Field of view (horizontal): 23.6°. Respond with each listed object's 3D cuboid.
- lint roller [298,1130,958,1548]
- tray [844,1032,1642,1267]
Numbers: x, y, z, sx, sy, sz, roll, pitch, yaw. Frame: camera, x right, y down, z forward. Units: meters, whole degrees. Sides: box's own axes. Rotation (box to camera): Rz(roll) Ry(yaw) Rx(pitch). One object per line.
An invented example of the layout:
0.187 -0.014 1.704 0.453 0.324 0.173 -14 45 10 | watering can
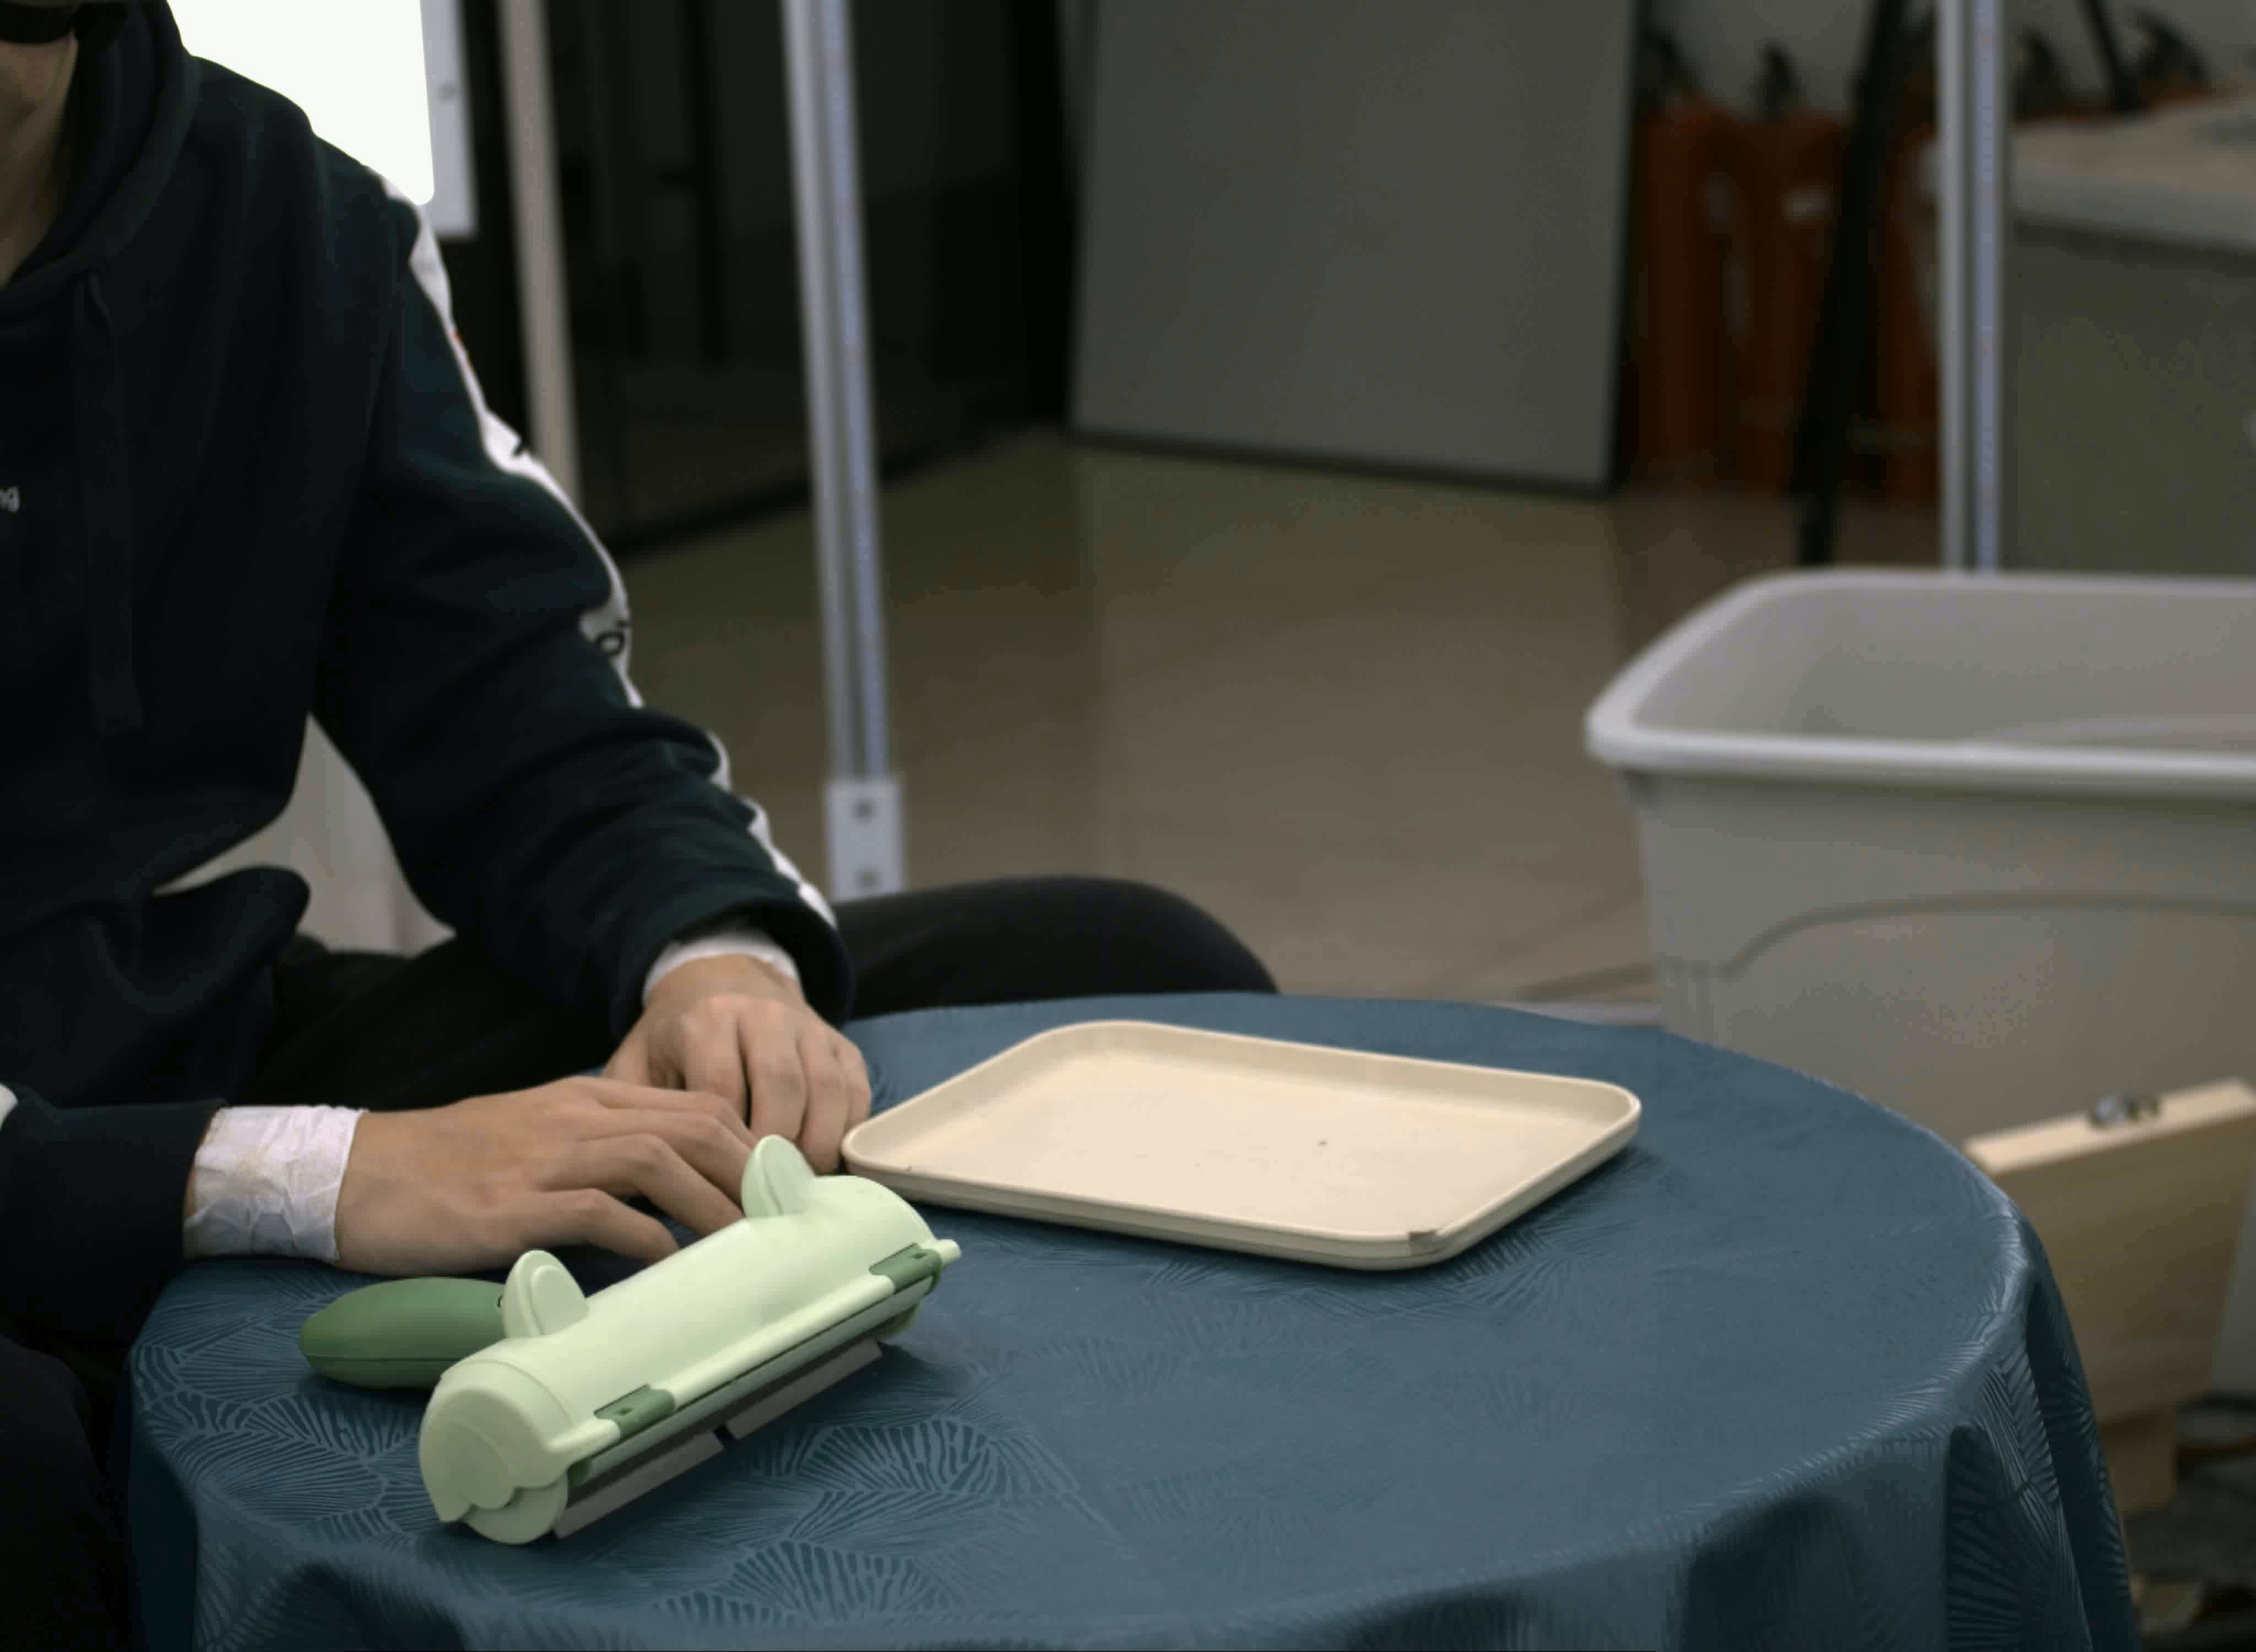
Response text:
-0.174 0.137 1.594 0.184 0.083 0.195 10 19 32 | lint roller
0.038 0.107 1.783 0.241 0.017 0.168 5 16 33 | tray
